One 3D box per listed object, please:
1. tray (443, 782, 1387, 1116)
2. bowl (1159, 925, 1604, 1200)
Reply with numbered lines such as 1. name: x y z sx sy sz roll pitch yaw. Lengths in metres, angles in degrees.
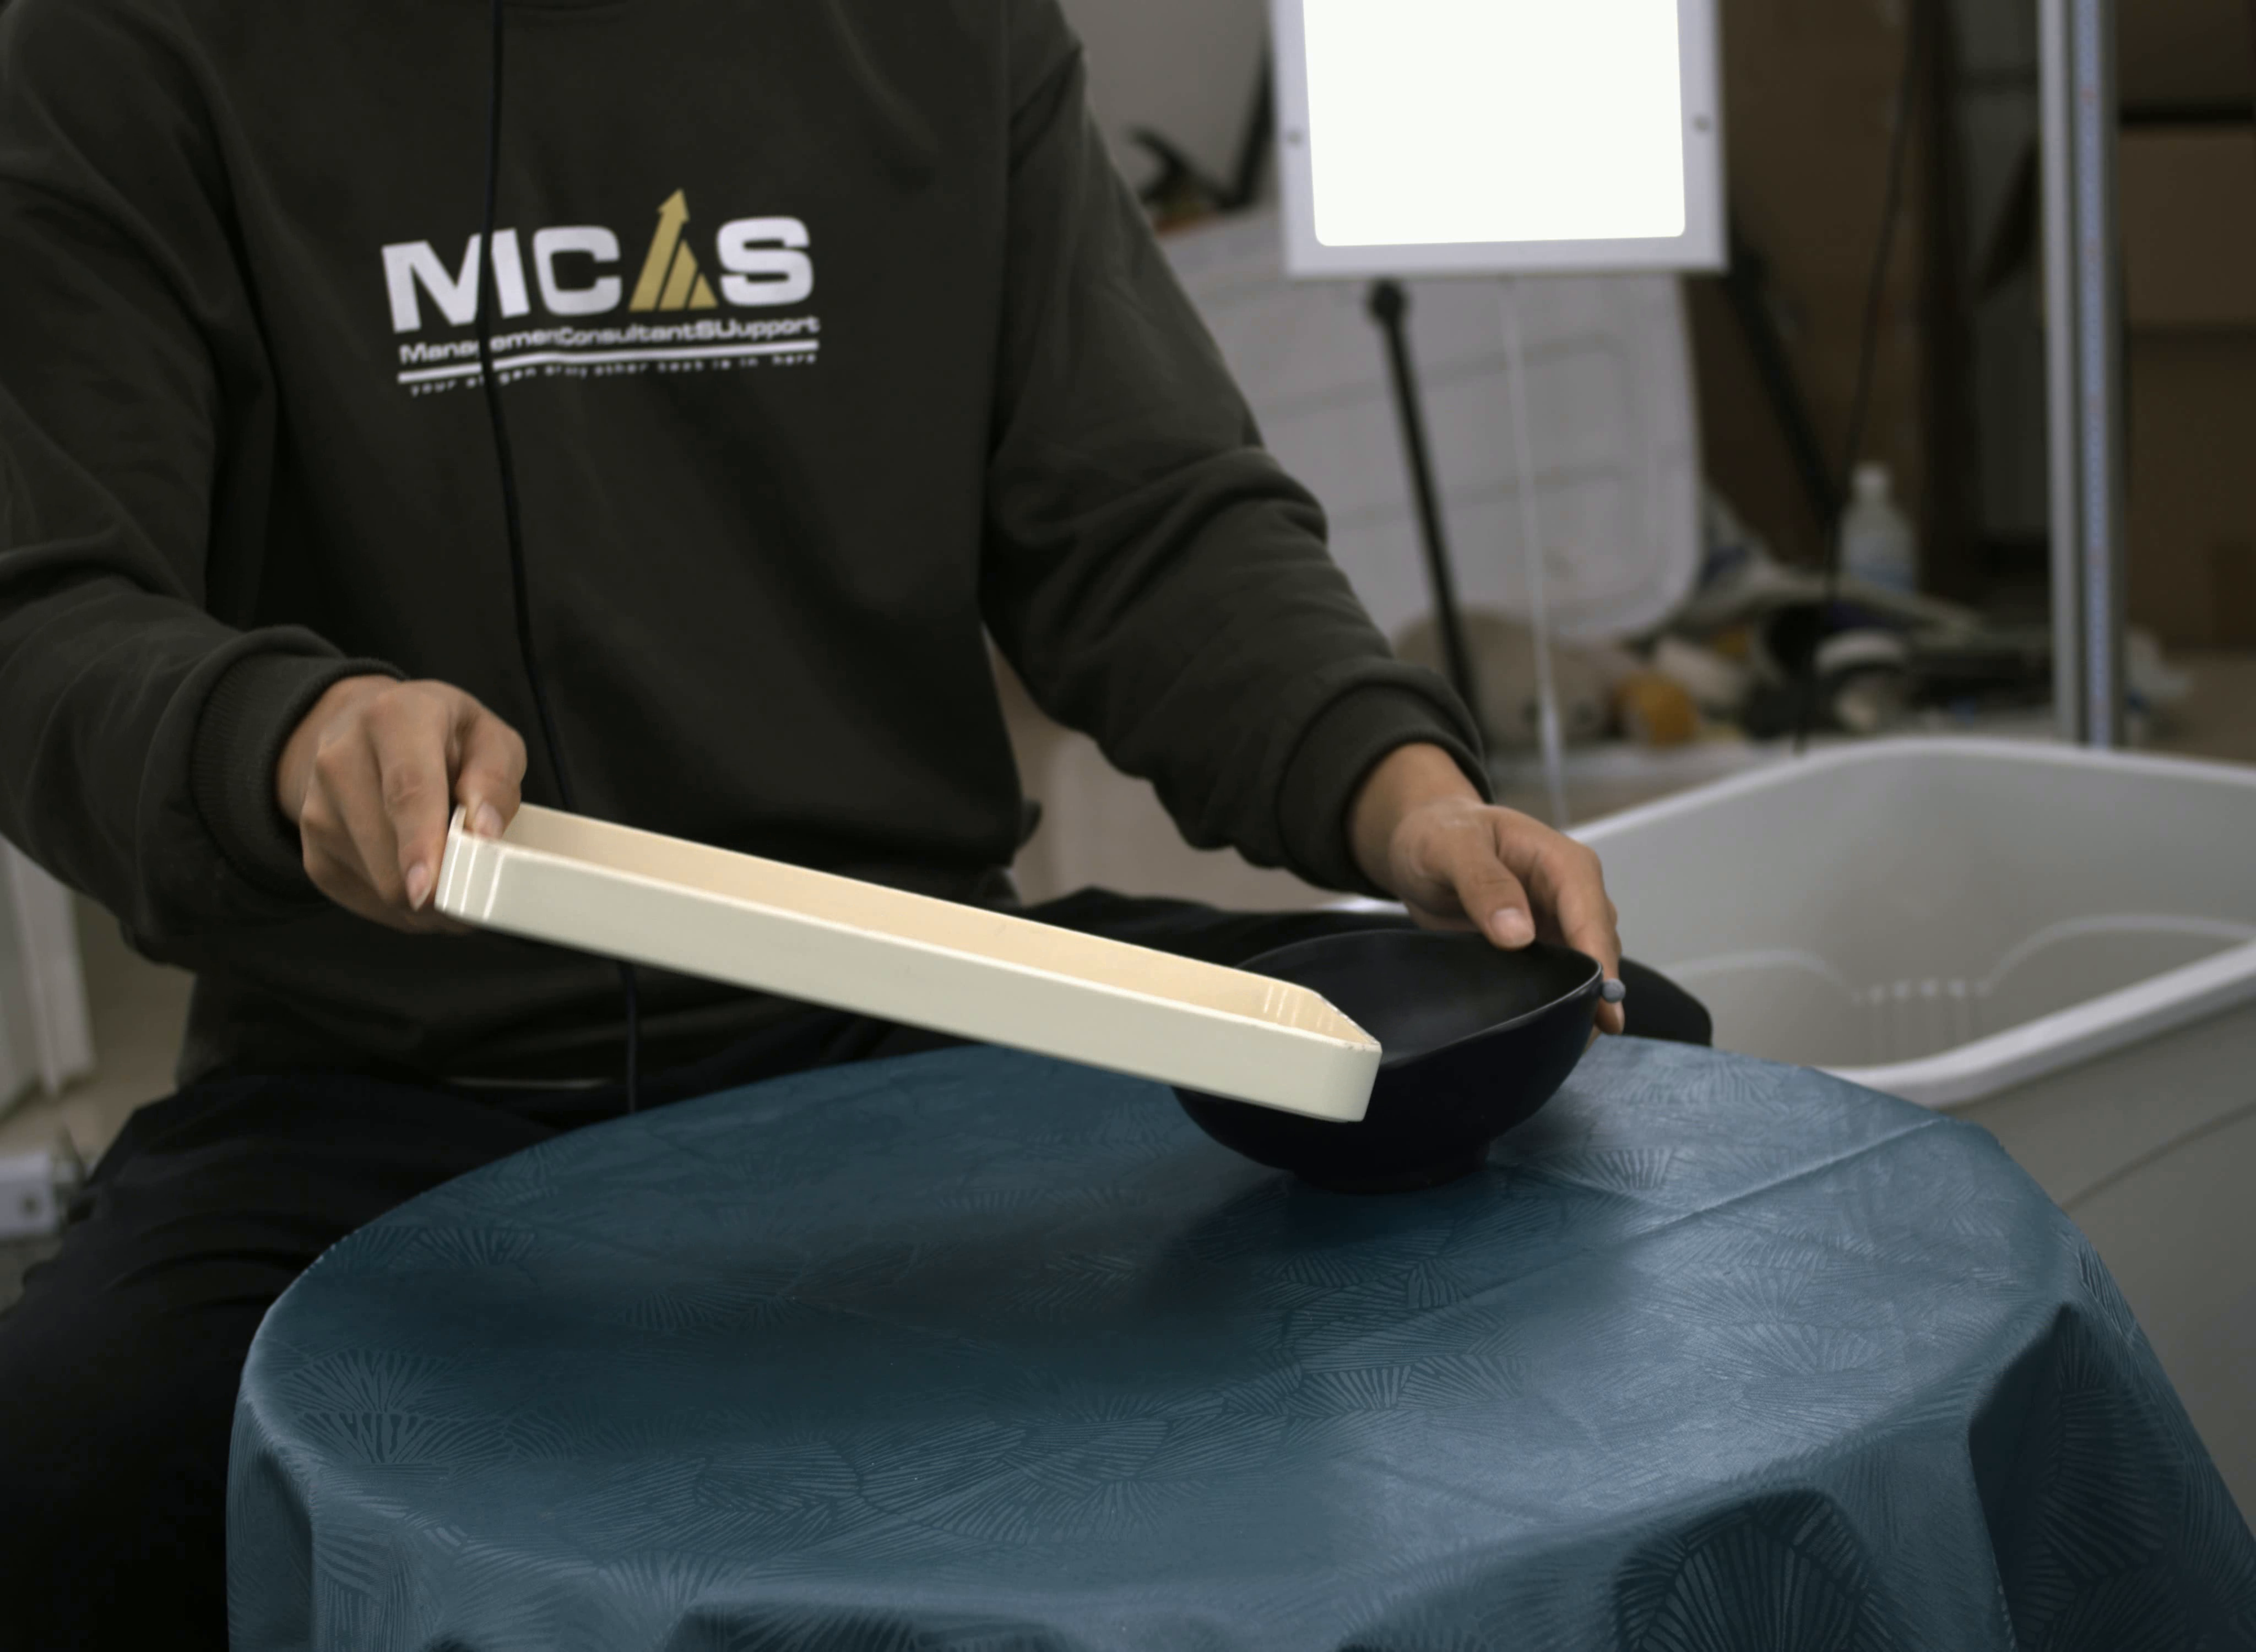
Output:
1. tray: -0.073 0.039 1.788 0.298 0.027 0.192 14 2 -5
2. bowl: 0.091 0.087 1.897 0.166 0.067 0.140 -21 20 -37
